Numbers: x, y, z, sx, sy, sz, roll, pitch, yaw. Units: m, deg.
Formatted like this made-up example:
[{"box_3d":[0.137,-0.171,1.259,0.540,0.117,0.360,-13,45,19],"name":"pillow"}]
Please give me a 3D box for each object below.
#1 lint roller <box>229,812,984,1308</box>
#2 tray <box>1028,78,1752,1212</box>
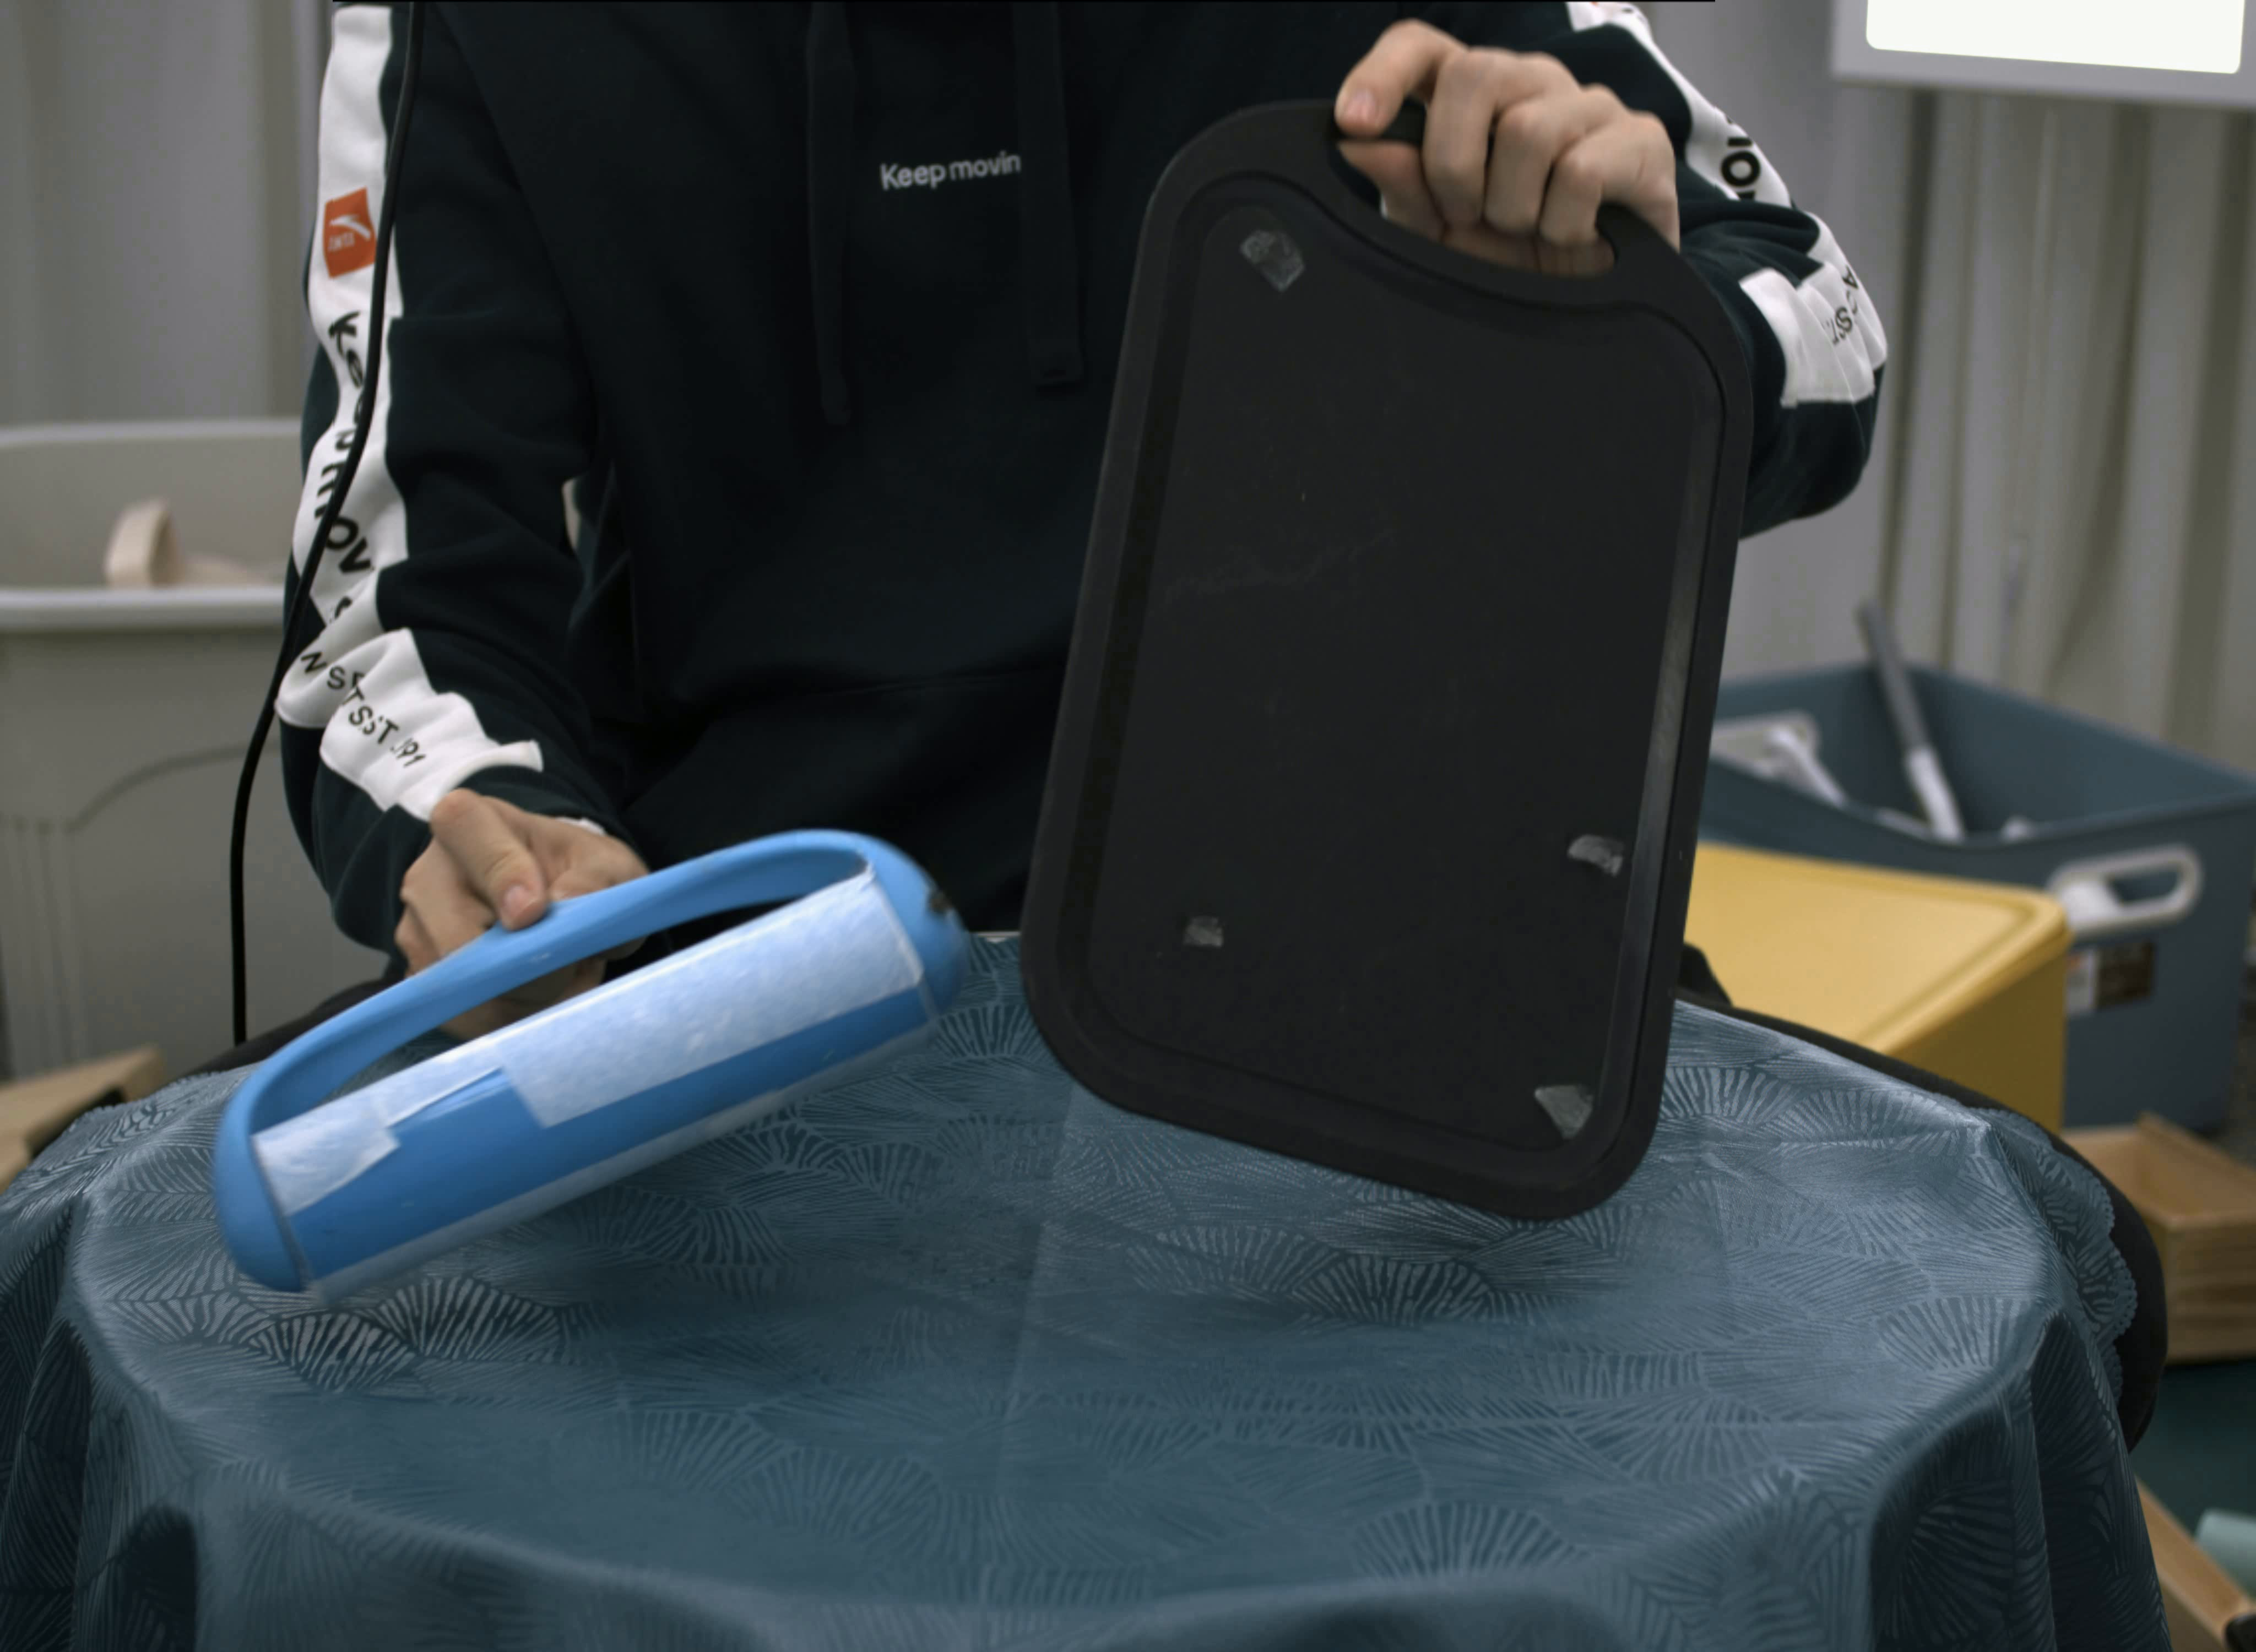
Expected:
[{"box_3d":[-0.165,0.054,1.551,0.229,0.068,0.178,-28,23,-10],"name":"lint roller"},{"box_3d":[0.082,-0.061,1.527,0.212,0.325,0.010,17,-17,-25],"name":"tray"}]
